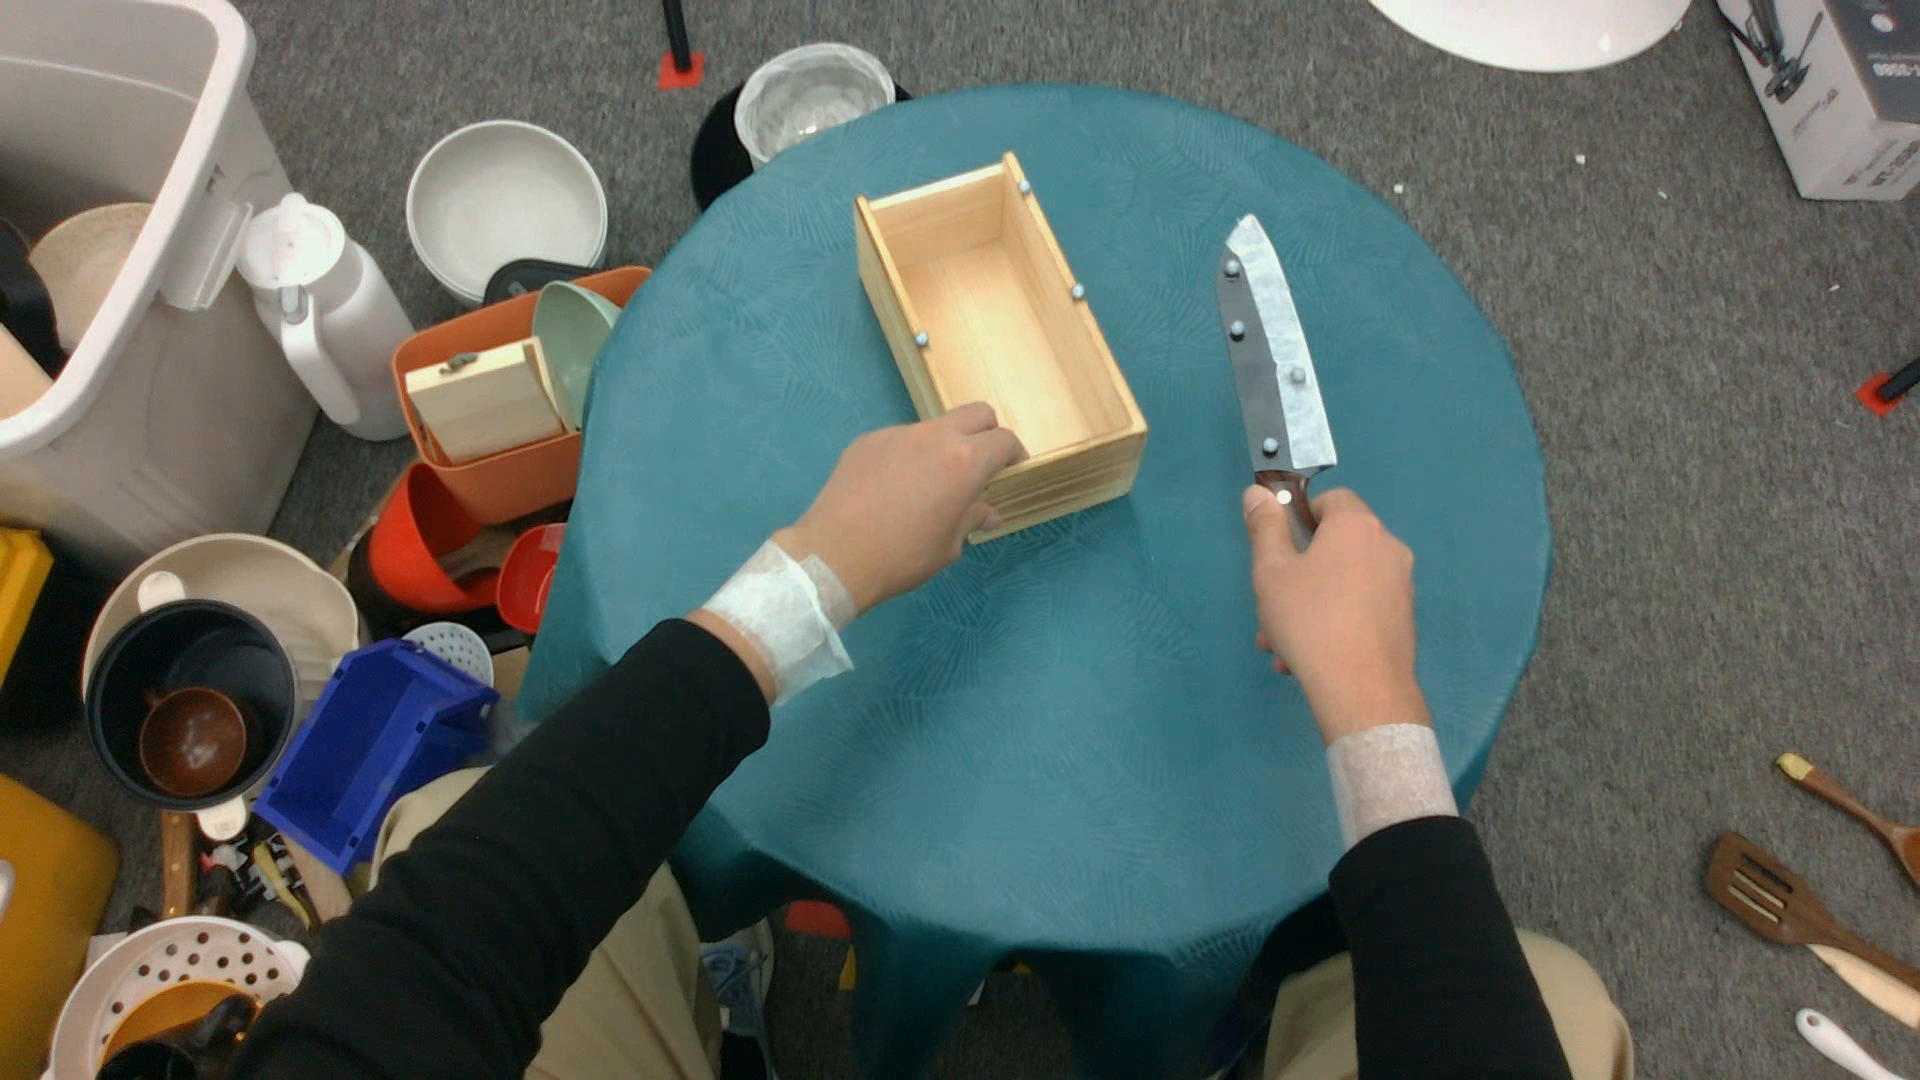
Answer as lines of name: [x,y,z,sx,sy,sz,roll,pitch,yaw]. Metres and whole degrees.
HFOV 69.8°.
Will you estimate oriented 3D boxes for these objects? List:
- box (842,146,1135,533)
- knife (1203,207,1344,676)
box: [0.013,-0.124,0.843,0.107,0.080,0.212,-19,66,-10]
knife: [0.173,-0.065,0.758,0.050,0.020,0.290,-7,66,7]
